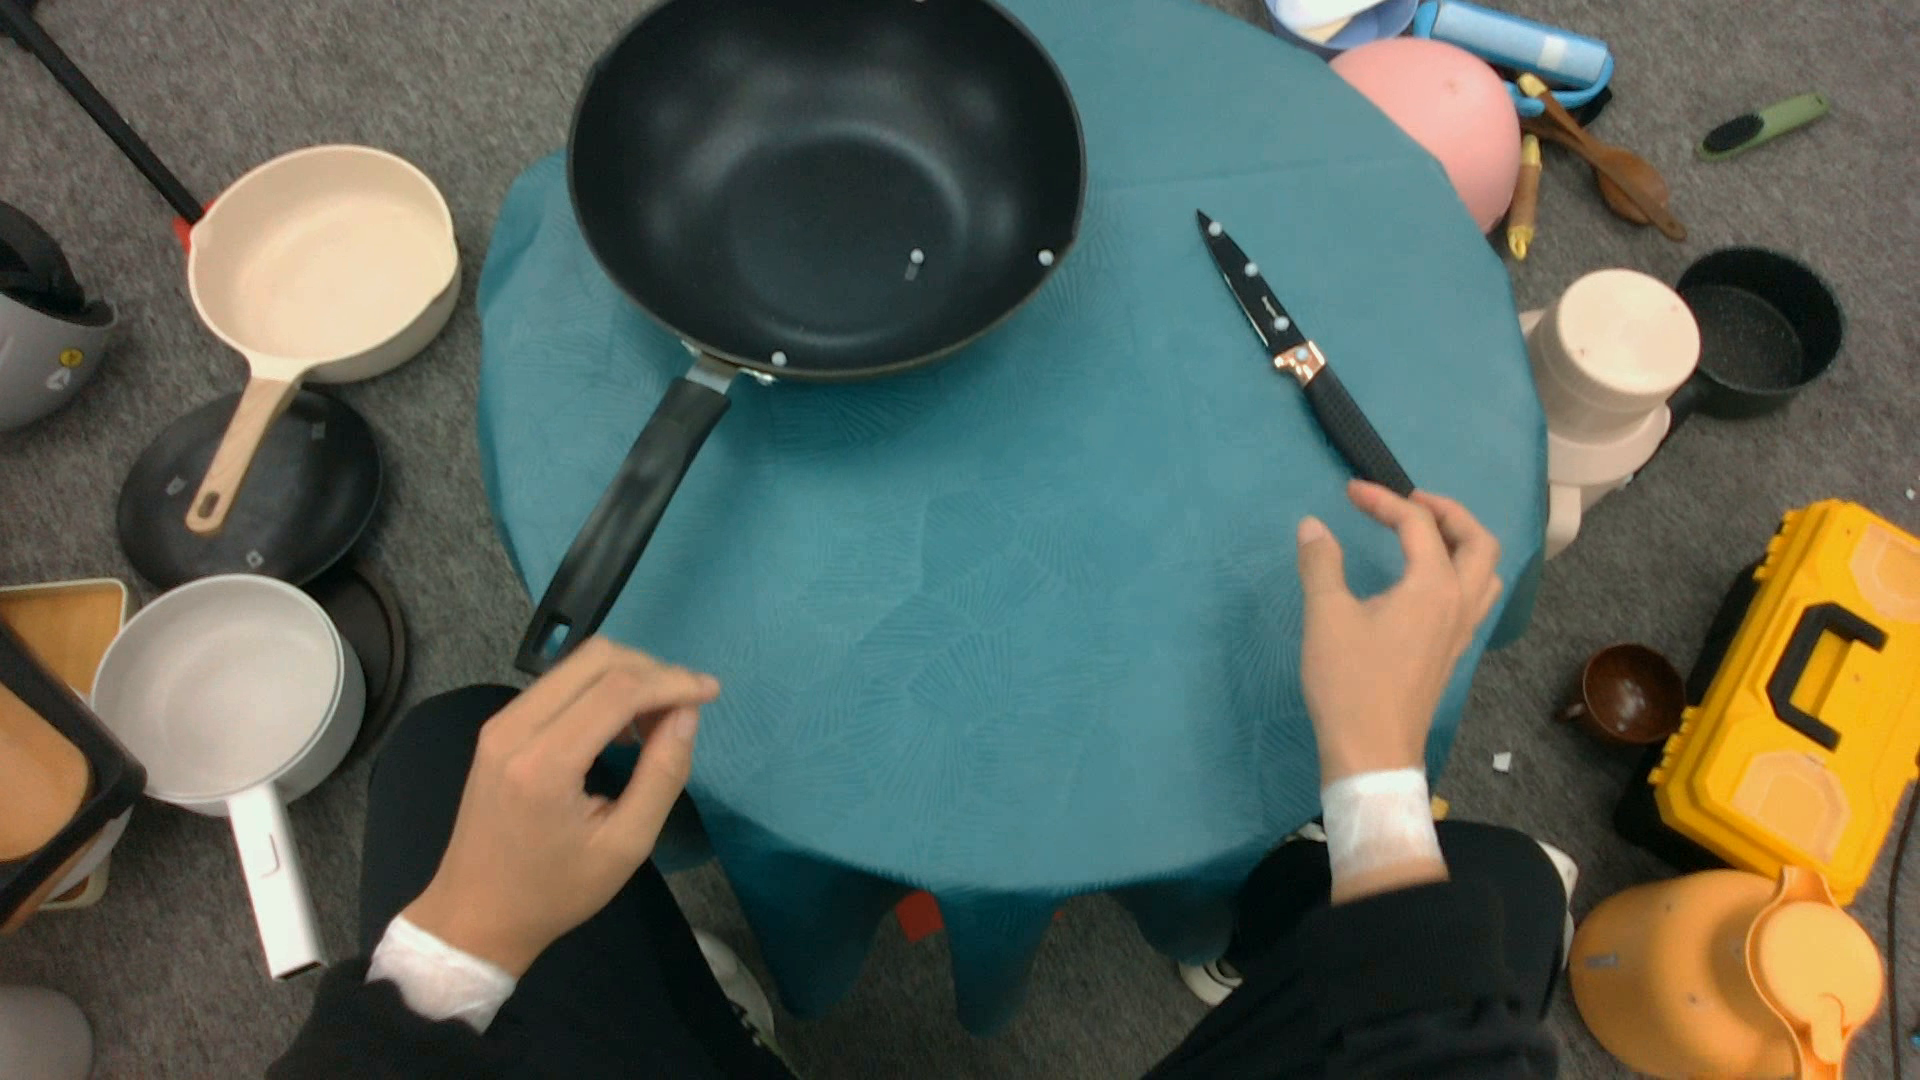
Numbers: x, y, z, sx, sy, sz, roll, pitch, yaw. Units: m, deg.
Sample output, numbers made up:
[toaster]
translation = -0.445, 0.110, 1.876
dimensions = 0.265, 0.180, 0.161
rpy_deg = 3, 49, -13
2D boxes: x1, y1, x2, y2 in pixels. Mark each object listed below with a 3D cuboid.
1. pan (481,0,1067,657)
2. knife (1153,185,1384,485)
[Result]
[pan]
translation = -0.119, -0.136, 0.751
dimensions = 0.288, 0.086, 0.465
rpy_deg = 22, 71, 5
[knife]
translation = 0.177, -0.125, 0.802
dimensions = 0.026, 0.017, 0.226
rpy_deg = -30, 72, 0
